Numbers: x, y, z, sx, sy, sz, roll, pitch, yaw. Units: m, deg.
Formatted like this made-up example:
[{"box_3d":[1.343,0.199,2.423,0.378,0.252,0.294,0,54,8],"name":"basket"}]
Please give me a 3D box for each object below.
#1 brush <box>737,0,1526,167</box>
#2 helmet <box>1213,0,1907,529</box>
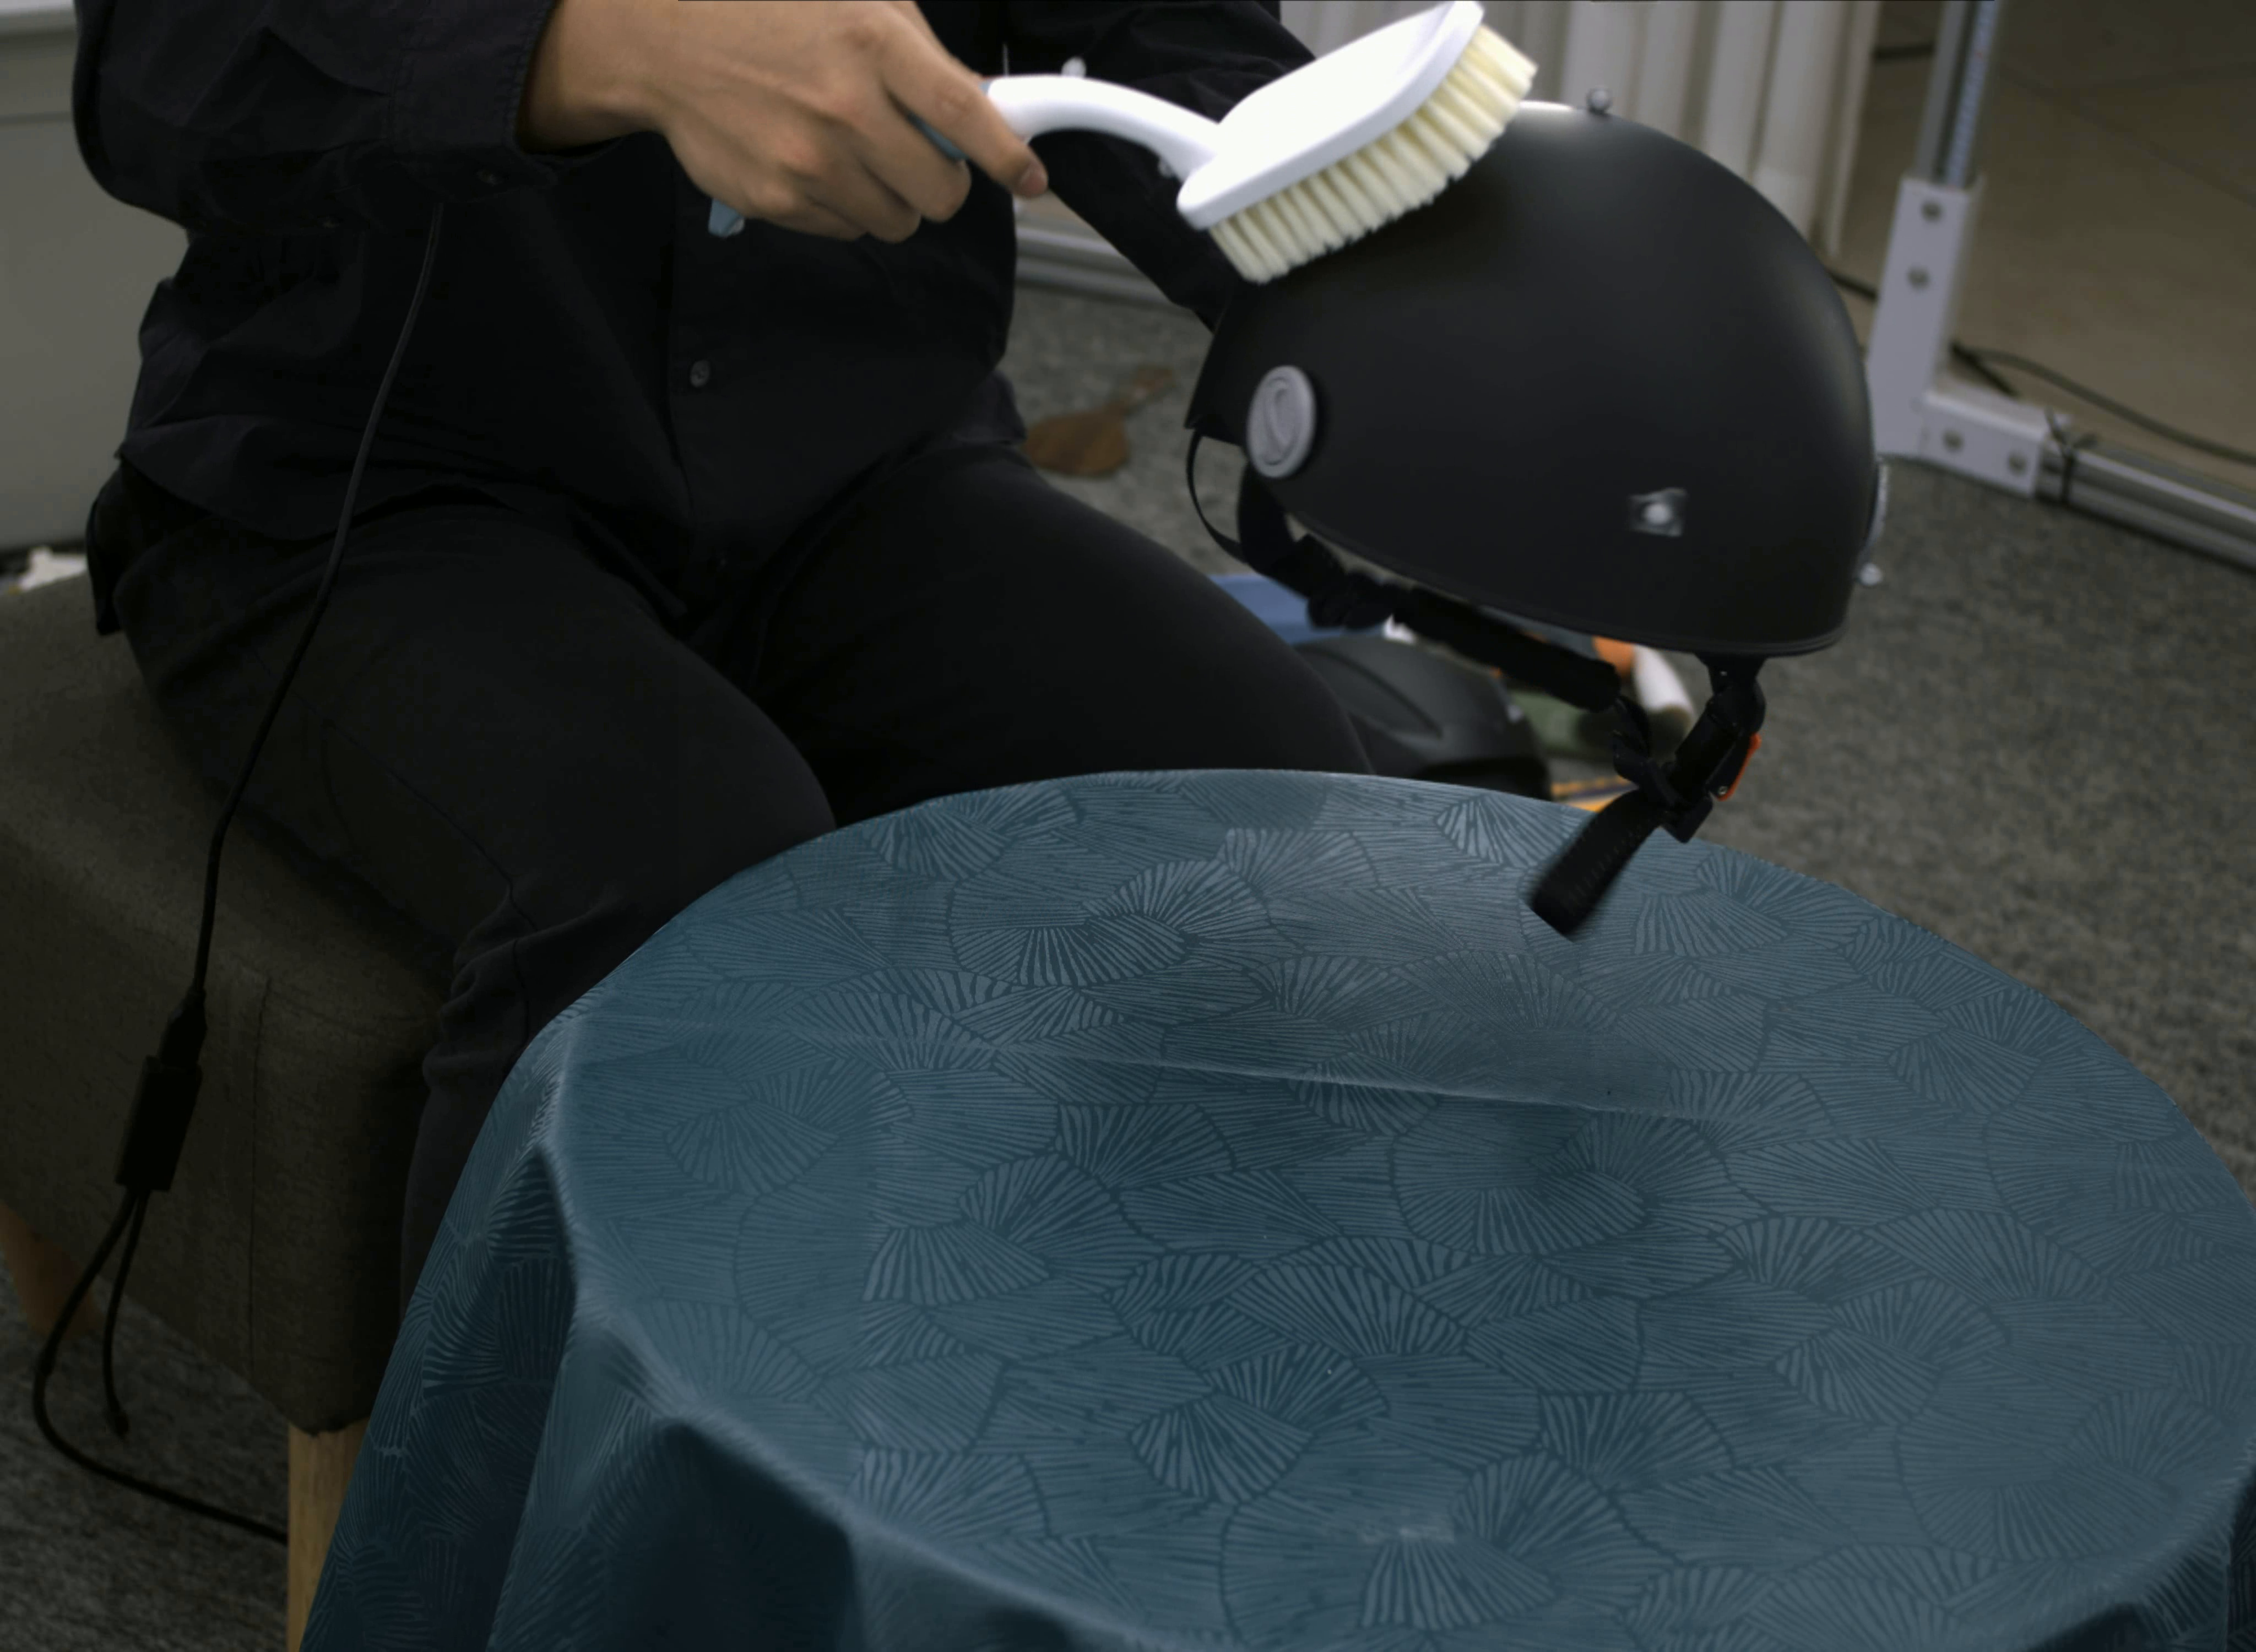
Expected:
[{"box_3d":[0.007,-0.259,1.848,0.326,0.085,0.082,-9,-2,35],"name":"brush"},{"box_3d":[0.157,-0.202,1.851,0.228,0.167,0.275,7,12,-16],"name":"helmet"}]
